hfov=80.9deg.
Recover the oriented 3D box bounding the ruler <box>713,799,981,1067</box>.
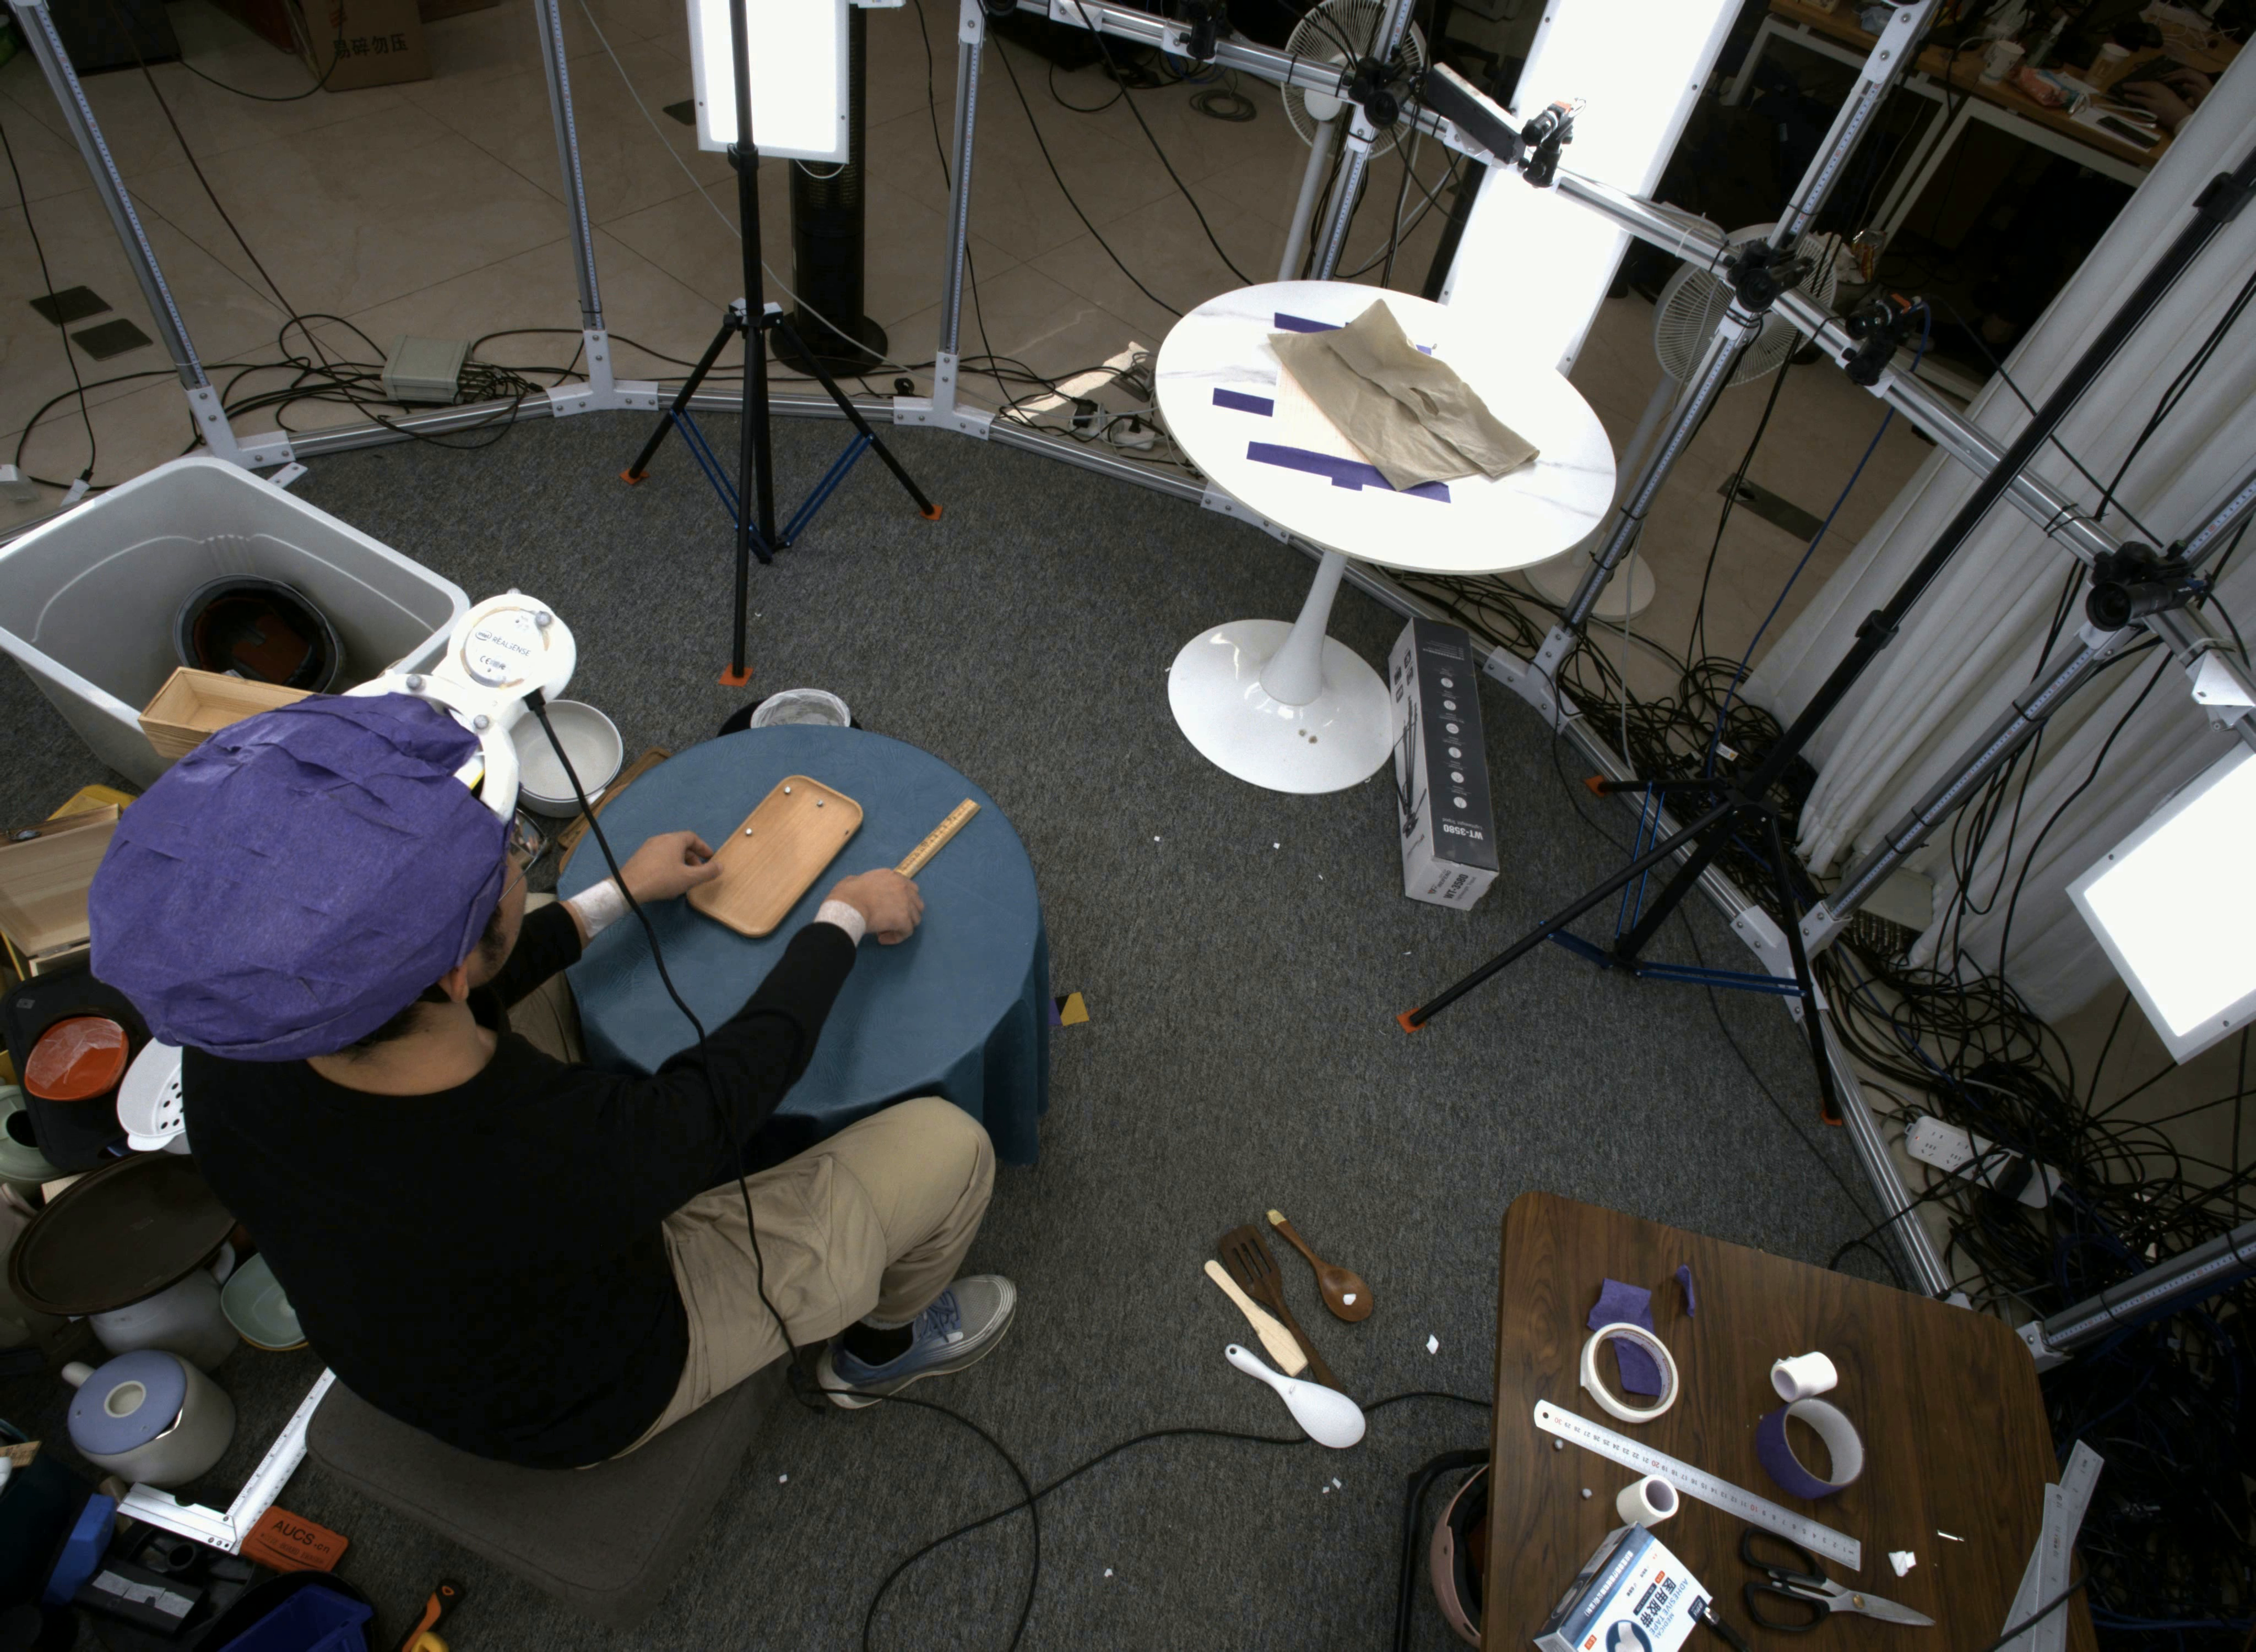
[{"bbox_3d":[-0.344,0.118,1.648,0.026,0.006,0.499,32,53,13],"label":"ruler"}]

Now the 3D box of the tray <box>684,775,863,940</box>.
[{"bbox_3d":[-0.455,0.036,1.673,0.128,0.023,0.249,27,53,9],"label":"tray"}]
